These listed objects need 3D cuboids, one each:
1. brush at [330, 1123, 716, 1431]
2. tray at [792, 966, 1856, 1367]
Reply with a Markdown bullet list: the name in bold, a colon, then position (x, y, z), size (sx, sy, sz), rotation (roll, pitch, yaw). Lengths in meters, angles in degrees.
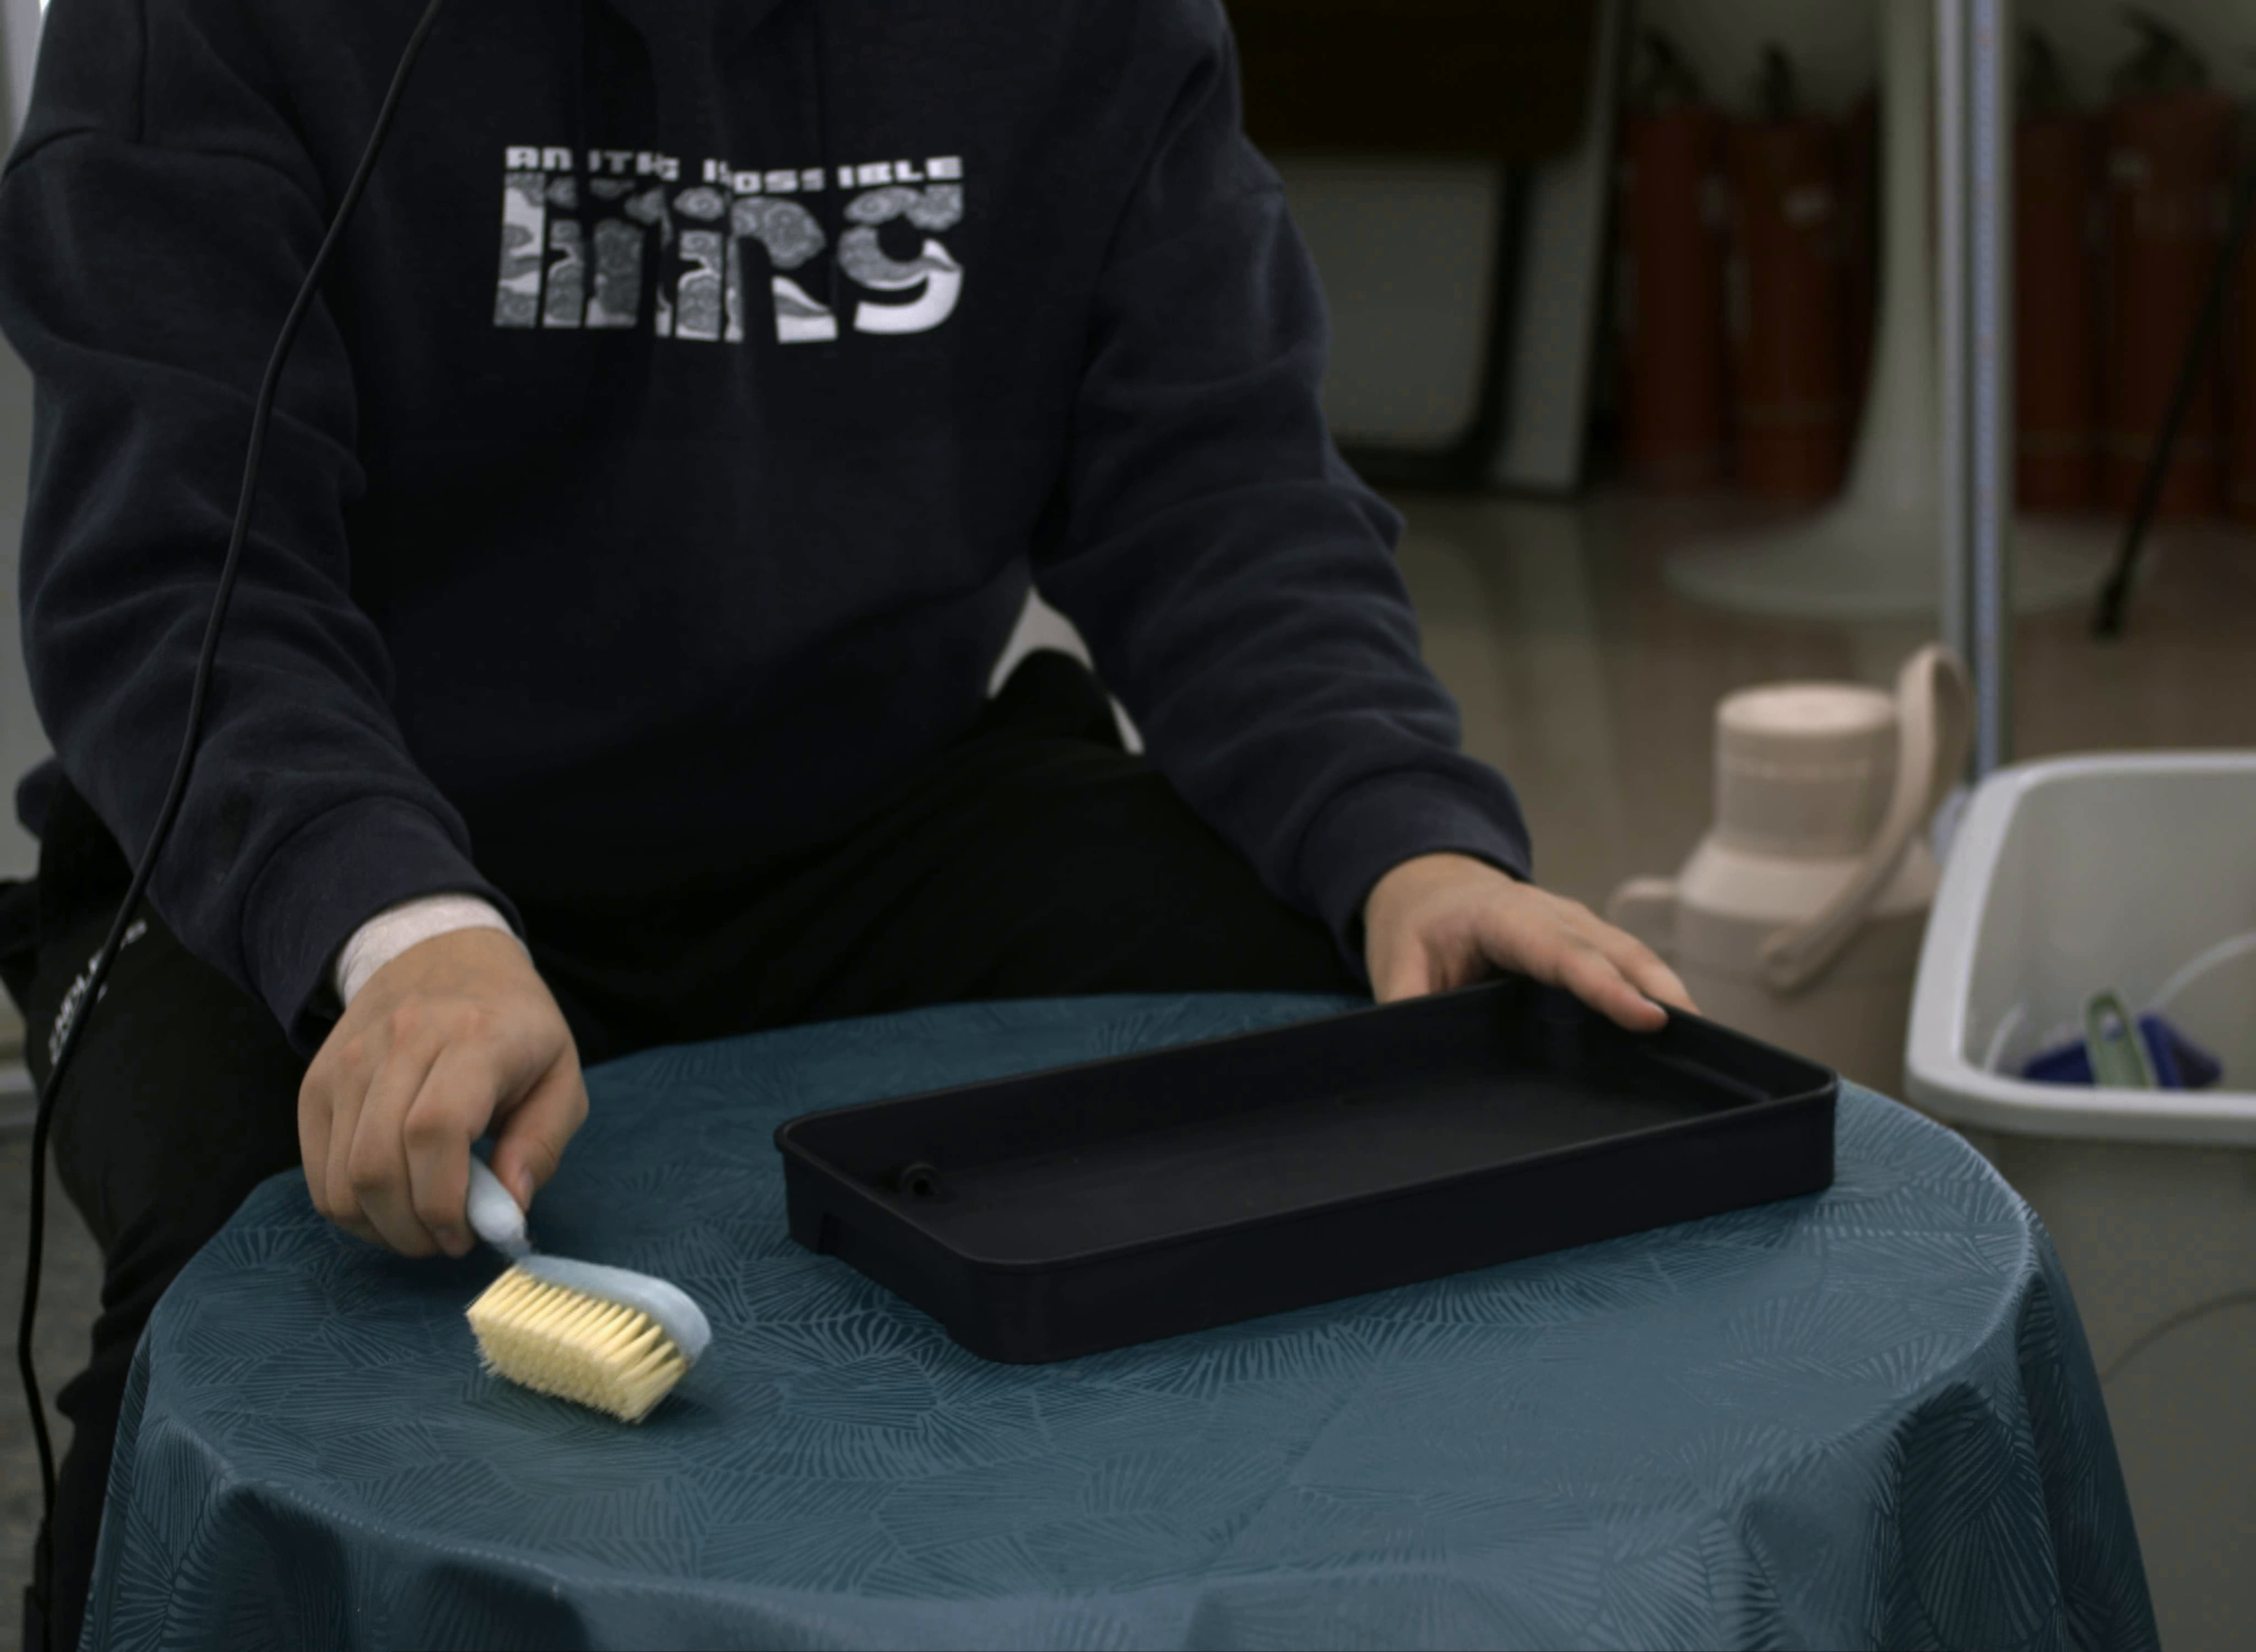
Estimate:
- **brush**: position (-0.198, 0.134, 1.667), size (0.049, 0.038, 0.231), rotation (-33, 30, -20)
- **tray**: position (0.065, 0.105, 1.745), size (0.311, 0.037, 0.186), rotation (-11, 15, -26)
